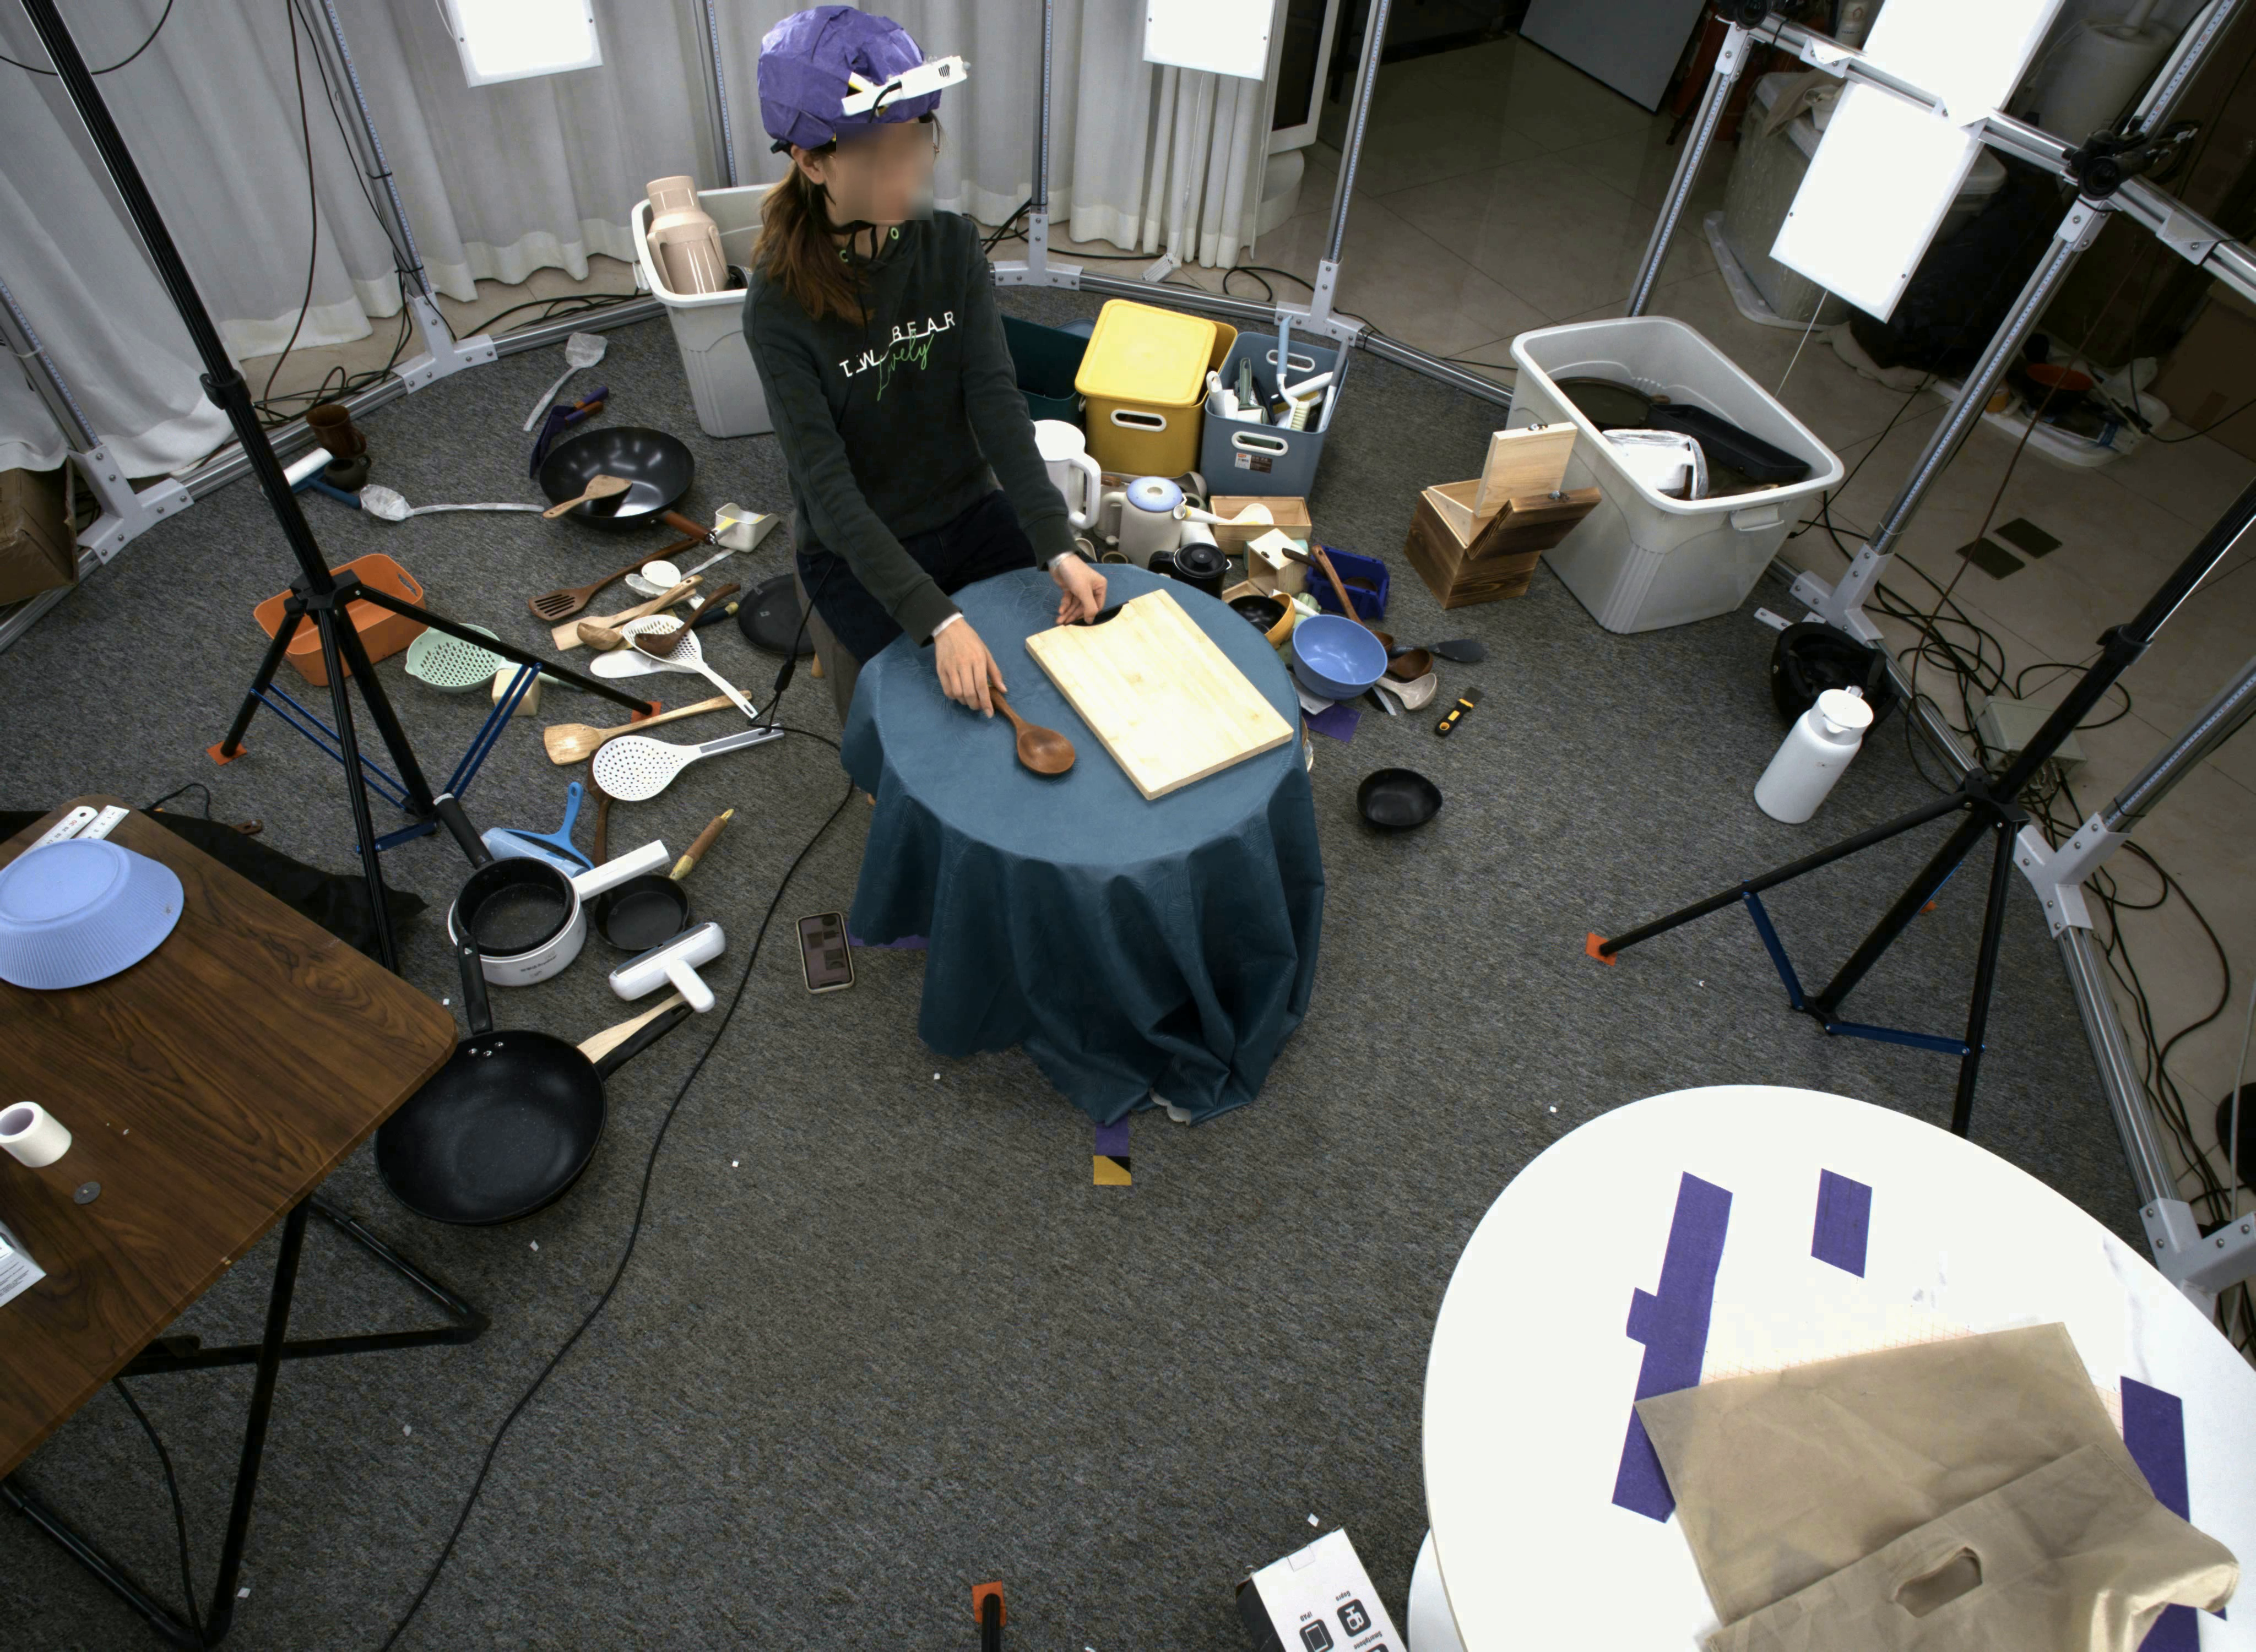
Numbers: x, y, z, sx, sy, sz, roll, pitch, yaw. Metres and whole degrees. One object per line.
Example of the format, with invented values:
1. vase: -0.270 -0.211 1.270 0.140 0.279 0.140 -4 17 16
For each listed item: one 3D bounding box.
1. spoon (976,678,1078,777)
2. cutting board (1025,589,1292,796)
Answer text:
1. spoon: -0.146 -0.139 1.784 0.076 0.017 0.220 -28 57 -23
2. cutting board: 0.038 -0.201 1.852 0.251 0.023 0.356 -23 54 -23
